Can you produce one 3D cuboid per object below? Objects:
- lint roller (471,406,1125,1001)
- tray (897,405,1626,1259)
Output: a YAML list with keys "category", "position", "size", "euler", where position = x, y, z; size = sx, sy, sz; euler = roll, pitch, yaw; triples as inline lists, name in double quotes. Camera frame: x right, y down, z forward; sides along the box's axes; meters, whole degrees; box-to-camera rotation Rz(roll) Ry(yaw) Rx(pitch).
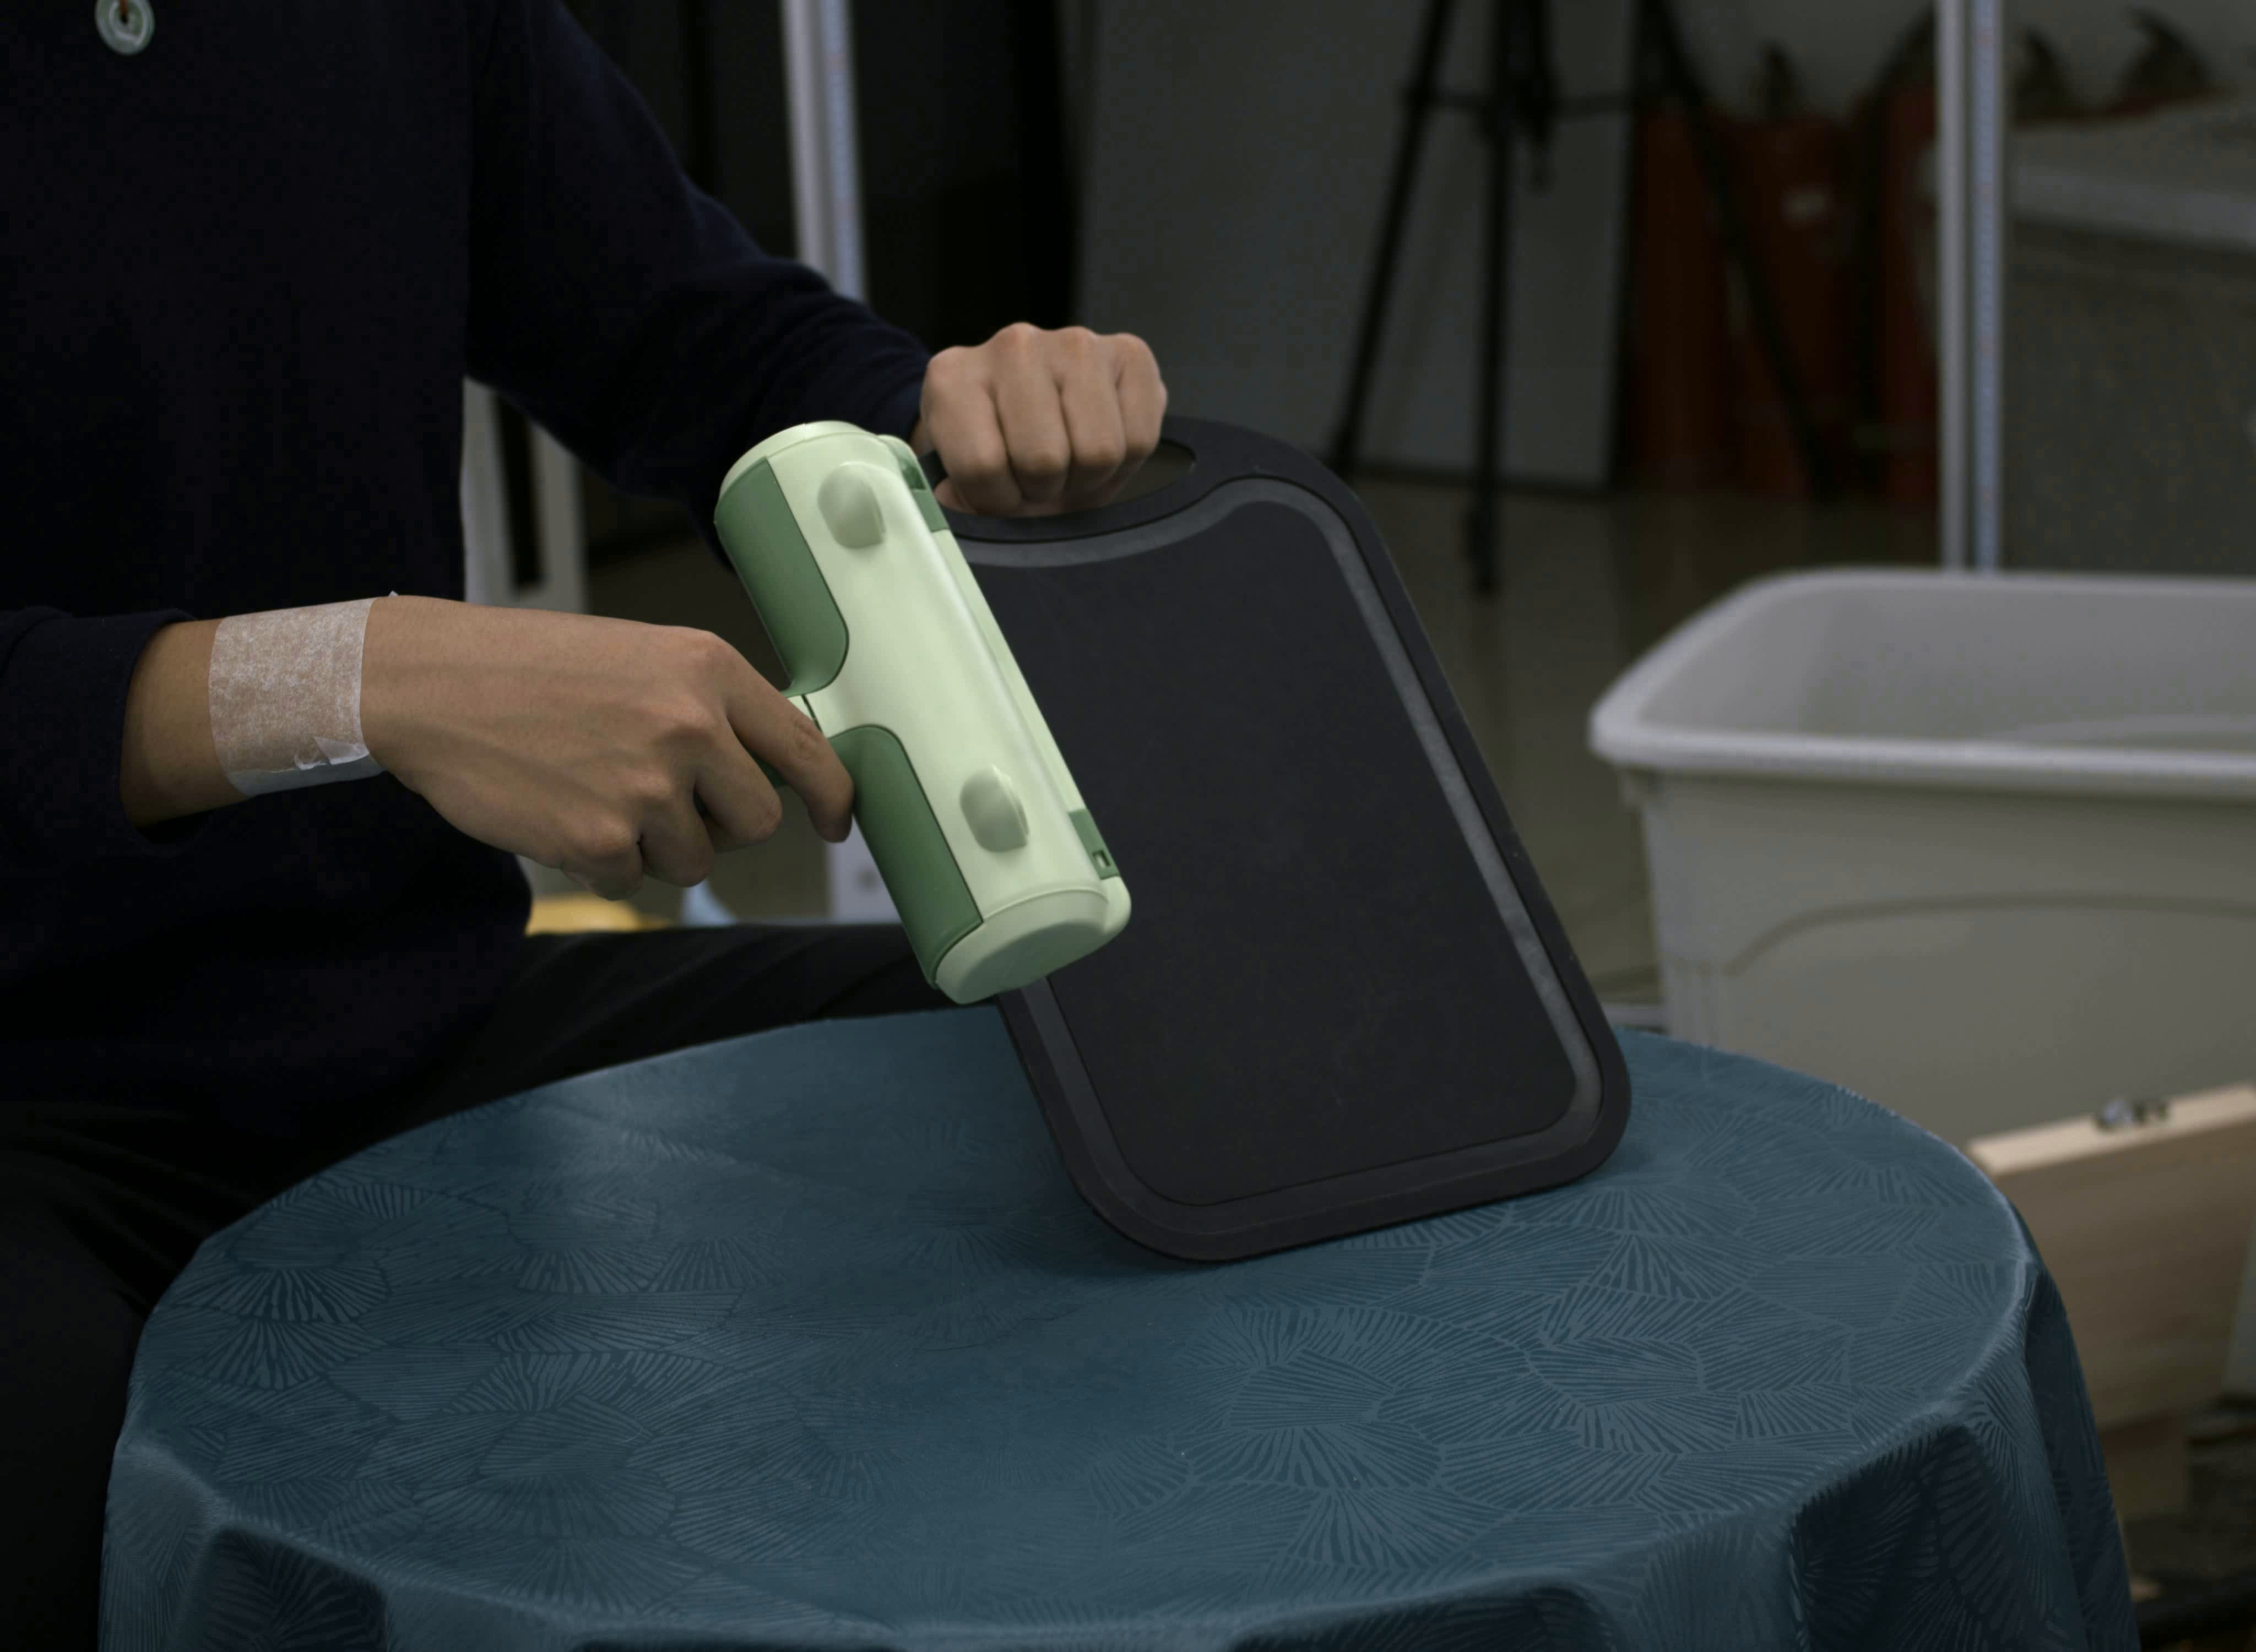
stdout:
- category: "lint roller"
  position: [-0.111, -0.037, 1.663]
  size: [0.179, 0.201, 0.083]
  euler: [-9, -29, -34]
- category: "tray"
  position: [0.028, -0.009, 1.788]
  size: [0.206, 0.330, 0.010]
  euler: [-10, -30, -25]
